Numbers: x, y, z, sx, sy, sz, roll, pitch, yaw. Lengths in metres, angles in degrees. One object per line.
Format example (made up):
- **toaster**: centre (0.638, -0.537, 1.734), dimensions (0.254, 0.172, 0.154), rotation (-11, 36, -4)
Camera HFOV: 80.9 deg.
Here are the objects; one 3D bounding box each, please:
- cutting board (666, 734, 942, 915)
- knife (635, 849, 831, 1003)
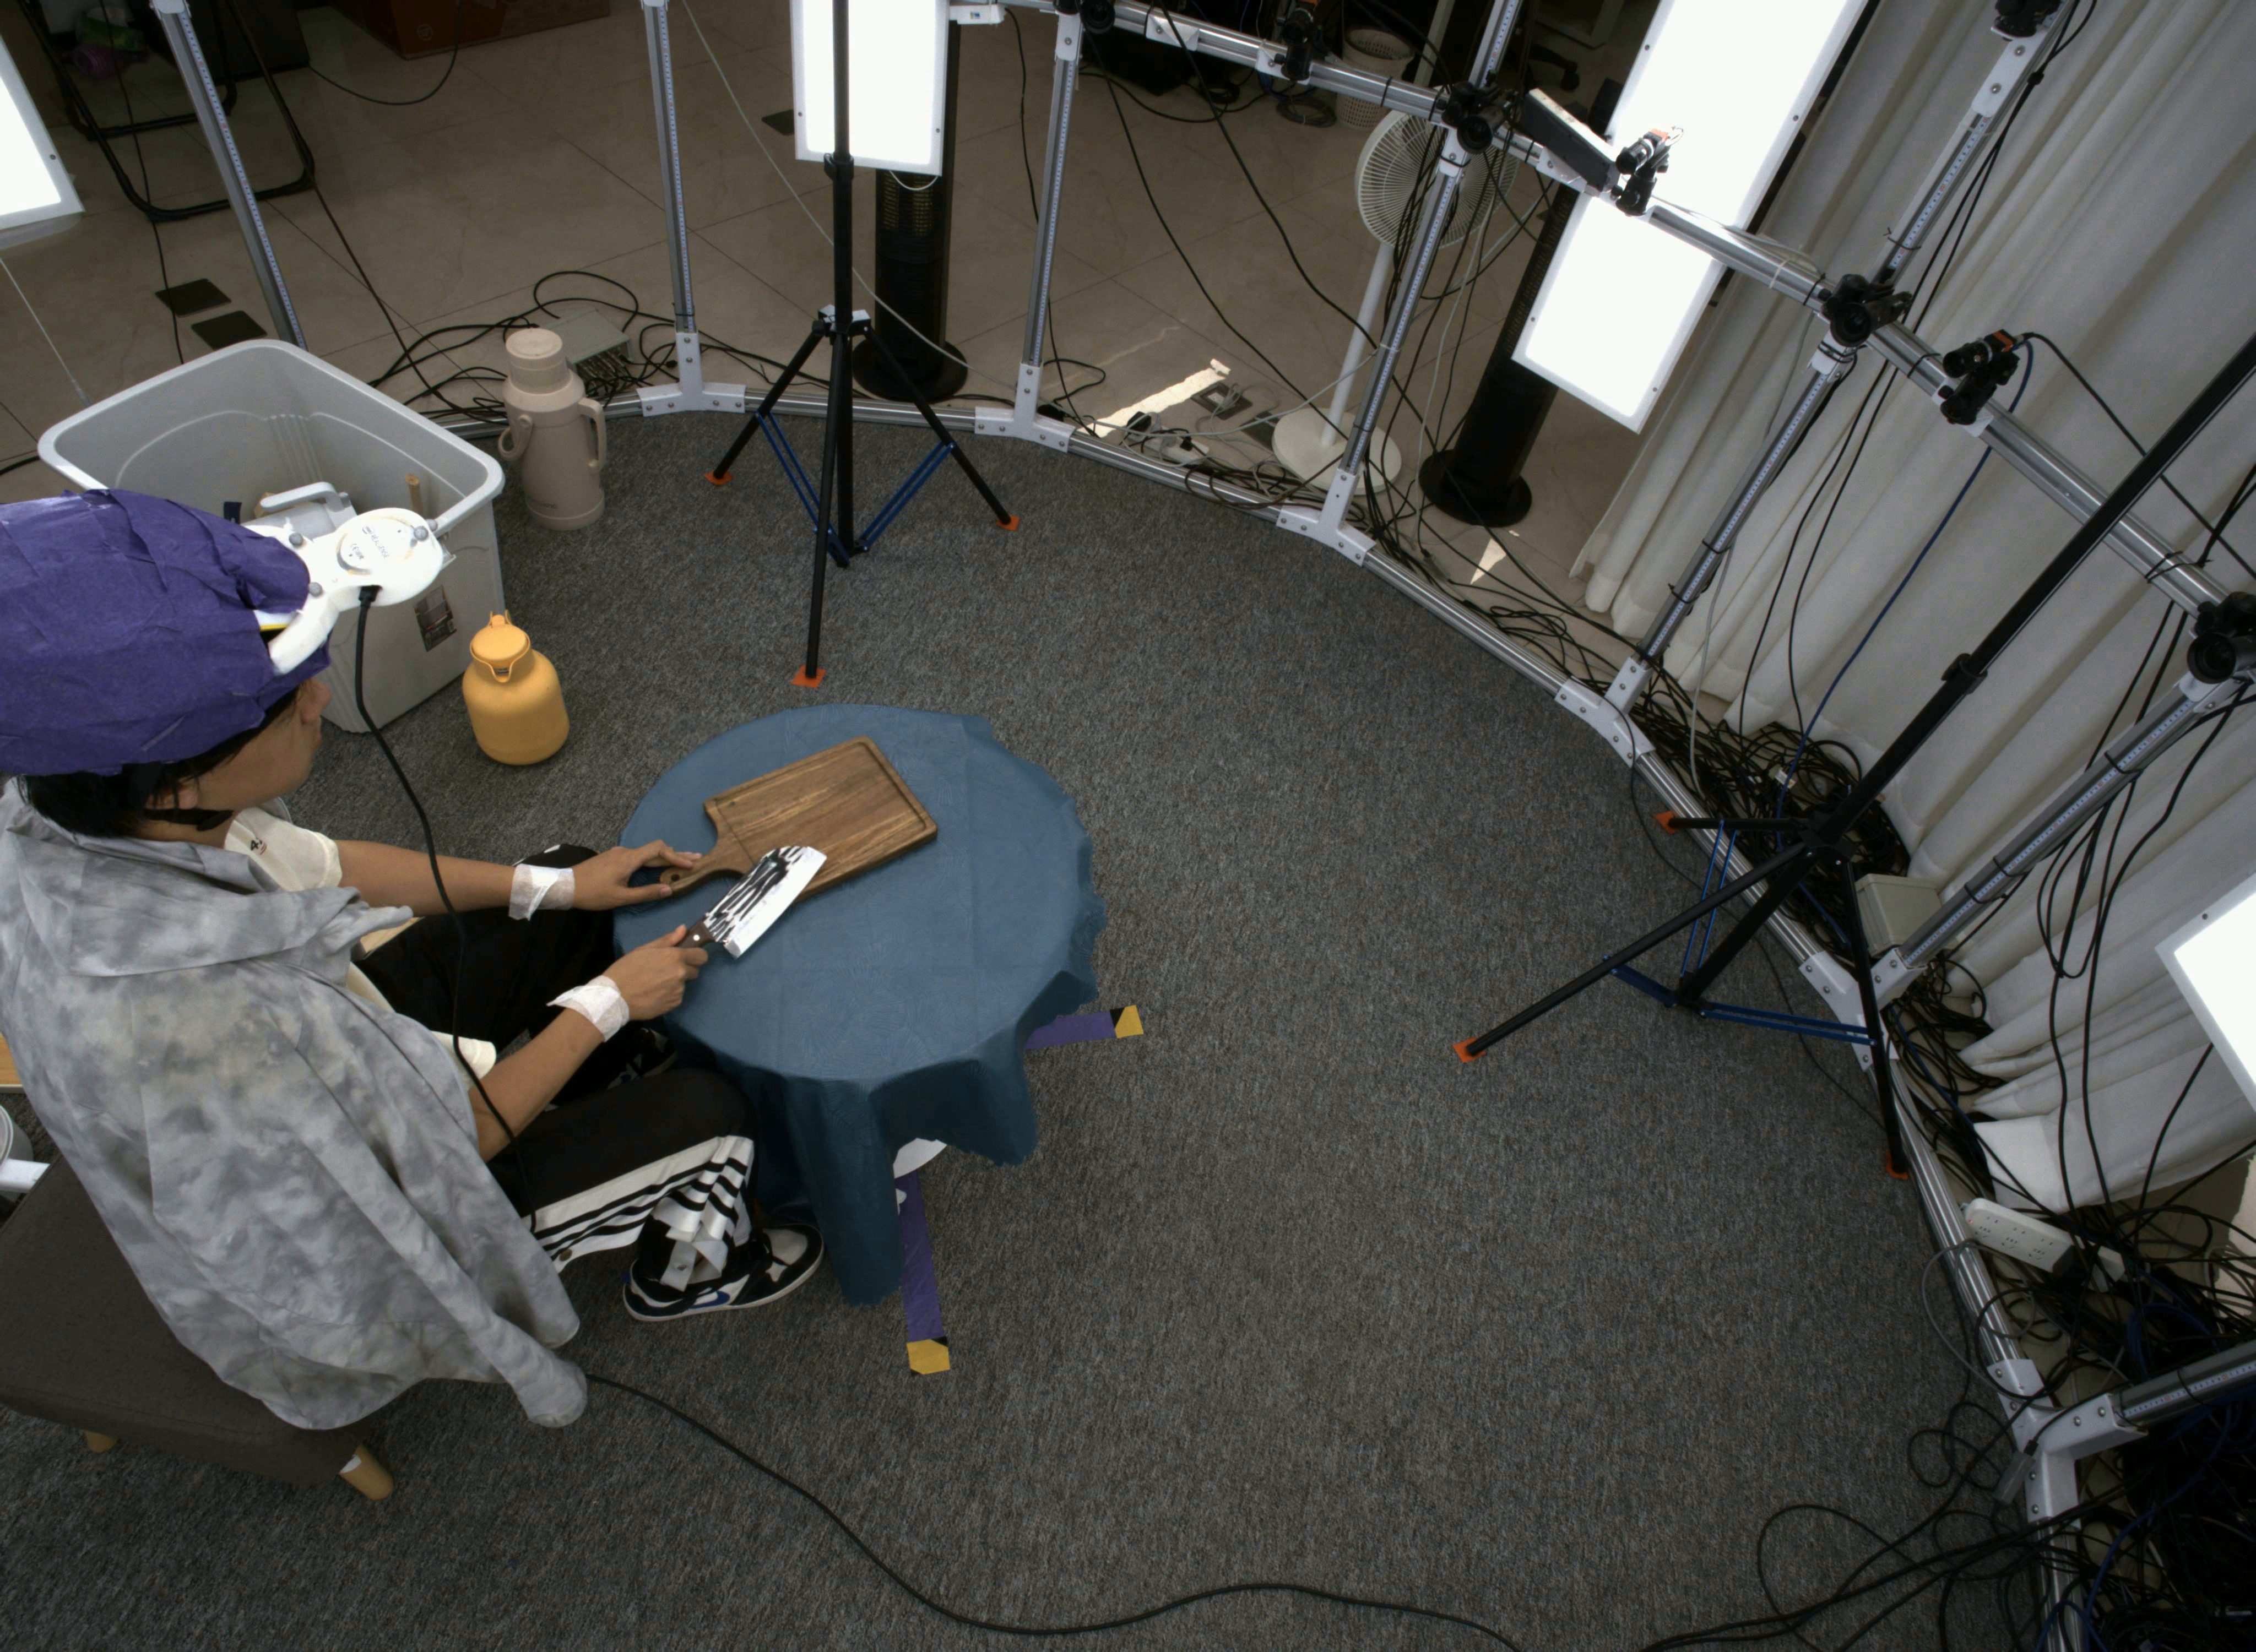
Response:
- **cutting board**: centre (-0.441, 0.010, 1.701), dimensions (0.353, 0.023, 0.196), rotation (-27, 64, -29)
- **knife**: centre (-0.478, 0.121, 1.582), dimensions (0.069, 0.023, 0.299), rotation (51, 56, -16)
